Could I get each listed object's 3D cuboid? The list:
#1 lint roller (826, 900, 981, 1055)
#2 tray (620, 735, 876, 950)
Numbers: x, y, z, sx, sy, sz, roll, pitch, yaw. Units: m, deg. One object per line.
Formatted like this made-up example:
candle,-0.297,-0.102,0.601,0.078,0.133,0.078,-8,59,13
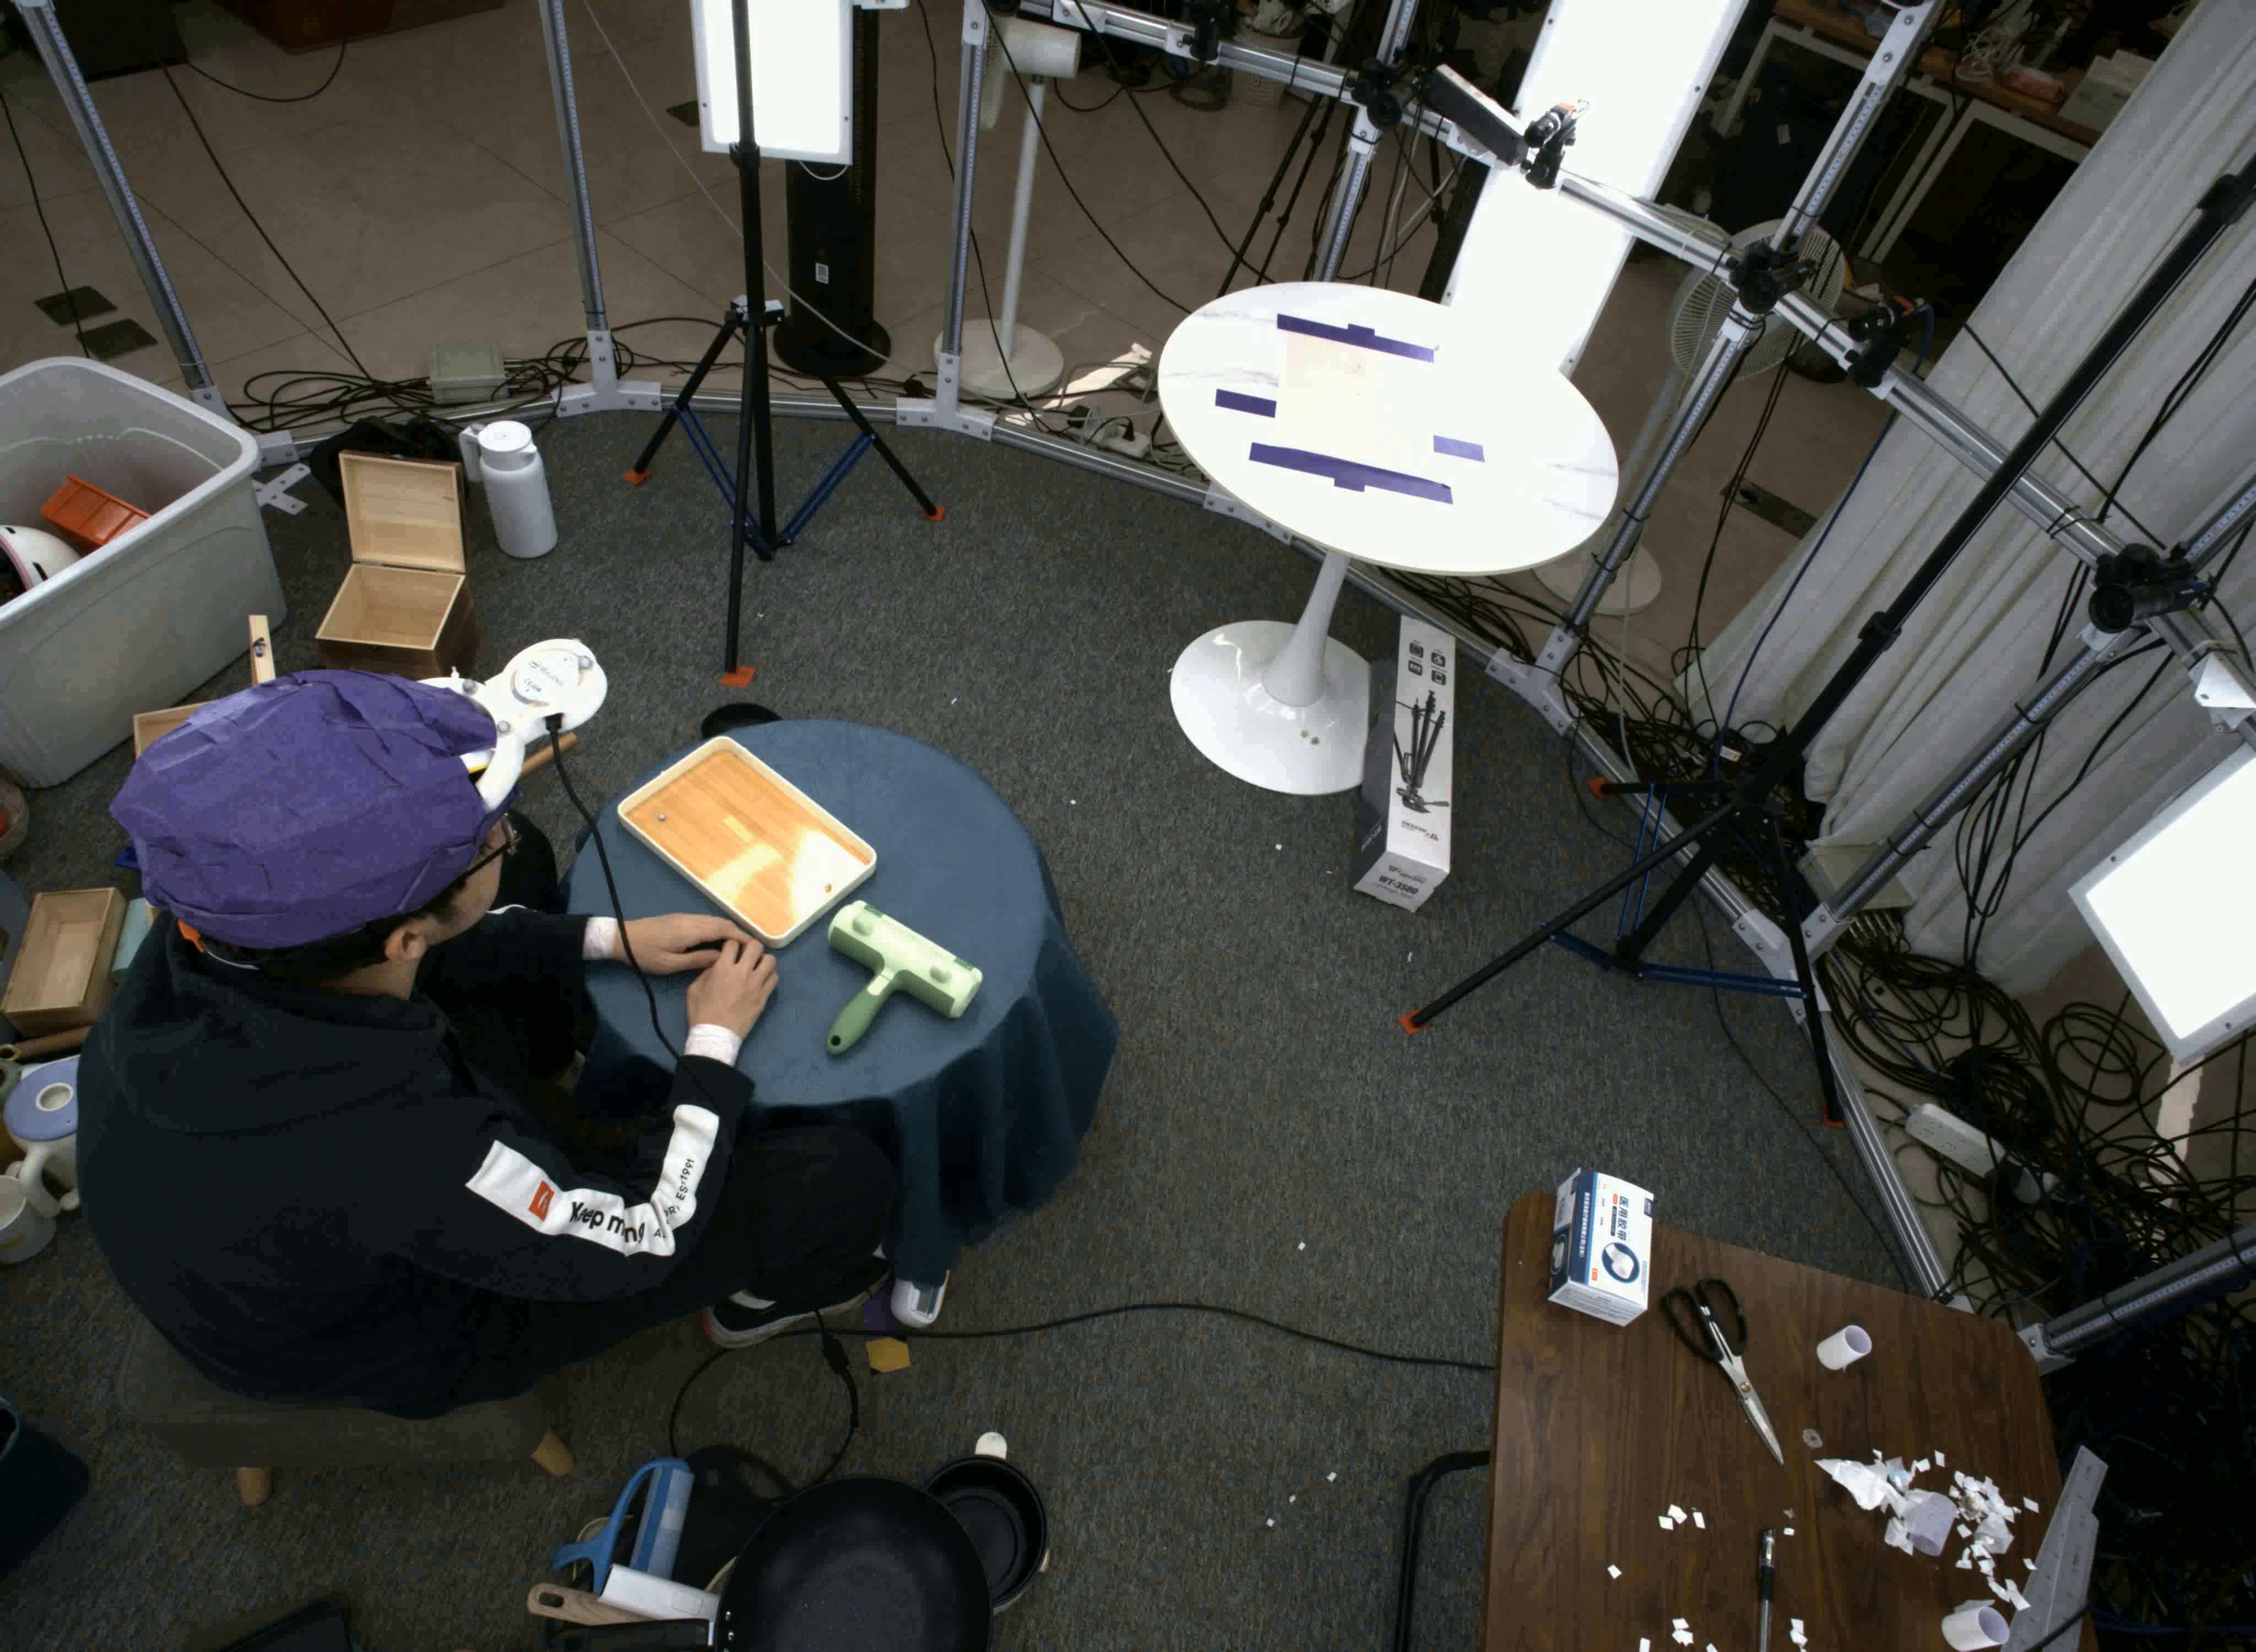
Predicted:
lint roller,-0.305,0.191,1.571,0.195,0.084,0.182,30,48,9
tray,-0.495,0.015,1.683,0.294,0.028,0.191,36,54,13
